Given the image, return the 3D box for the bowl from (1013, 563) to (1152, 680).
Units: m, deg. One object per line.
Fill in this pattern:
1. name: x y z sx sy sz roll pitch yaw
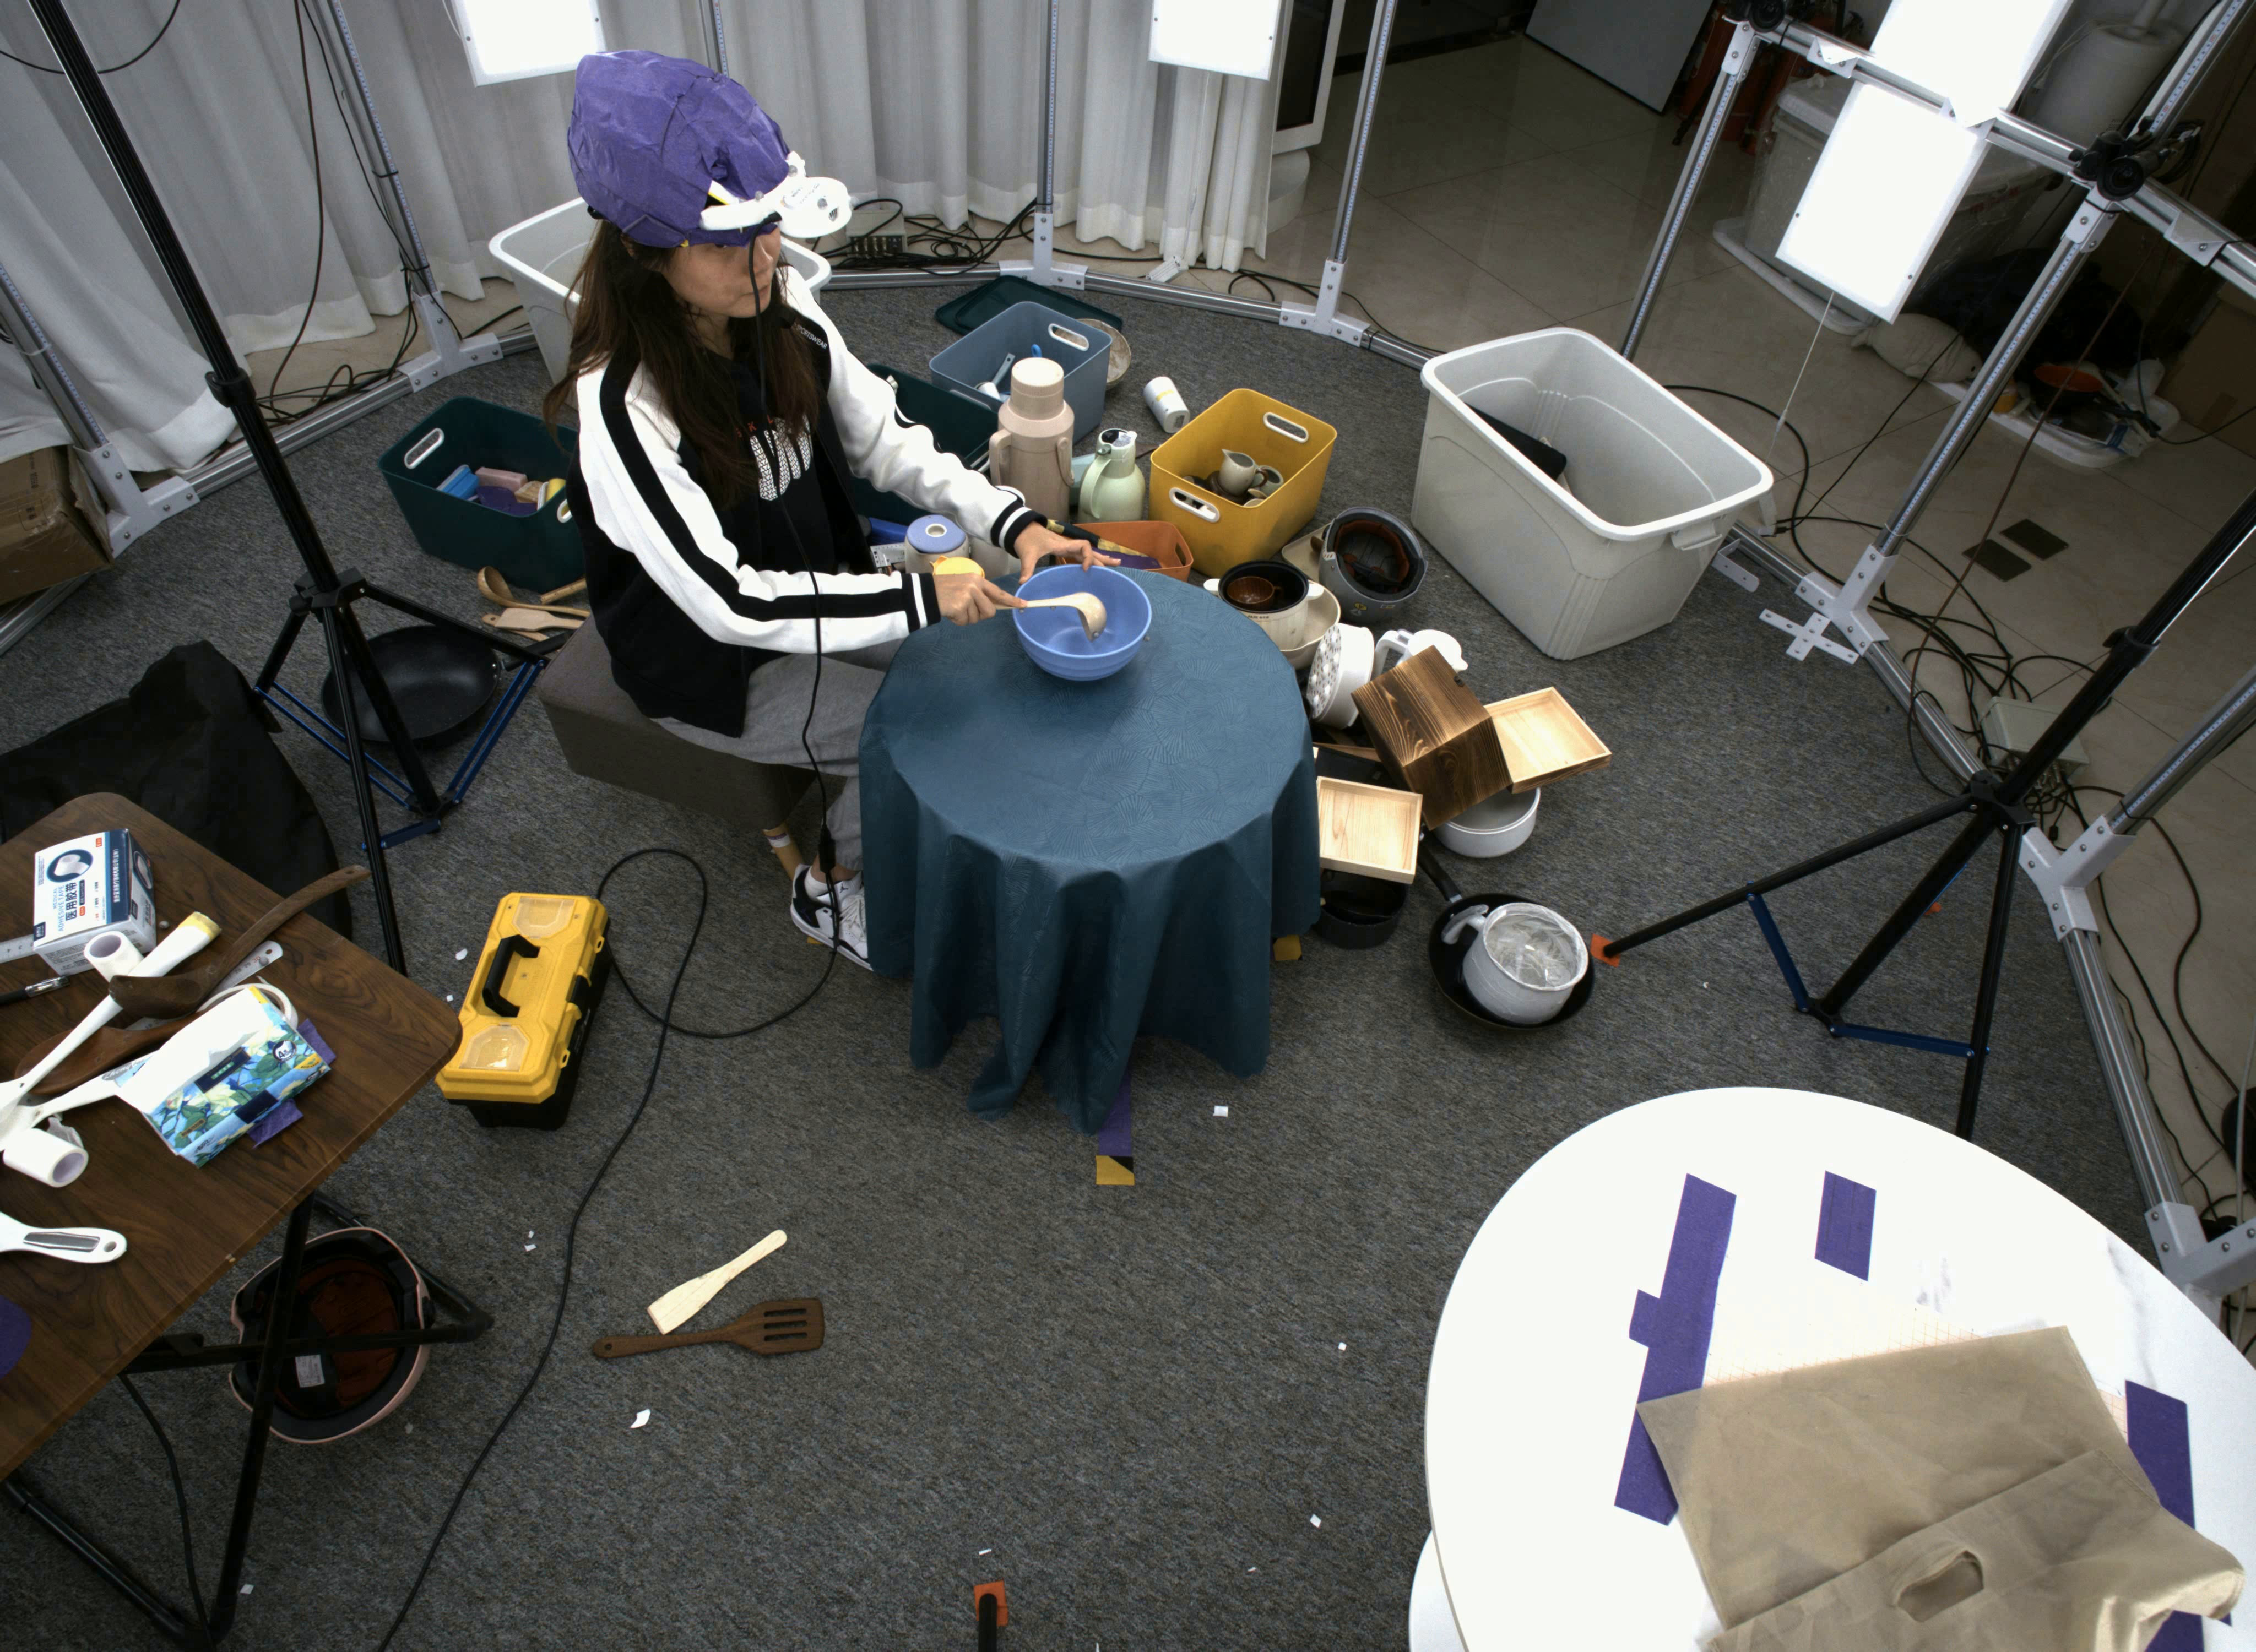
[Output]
1. bowl: -0.068 -0.277 1.843 0.196 0.093 0.201 4 49 -5

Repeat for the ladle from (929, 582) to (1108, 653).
1. ladle: -0.154 -0.284 1.793 0.253 0.073 0.072 6 2 -15
